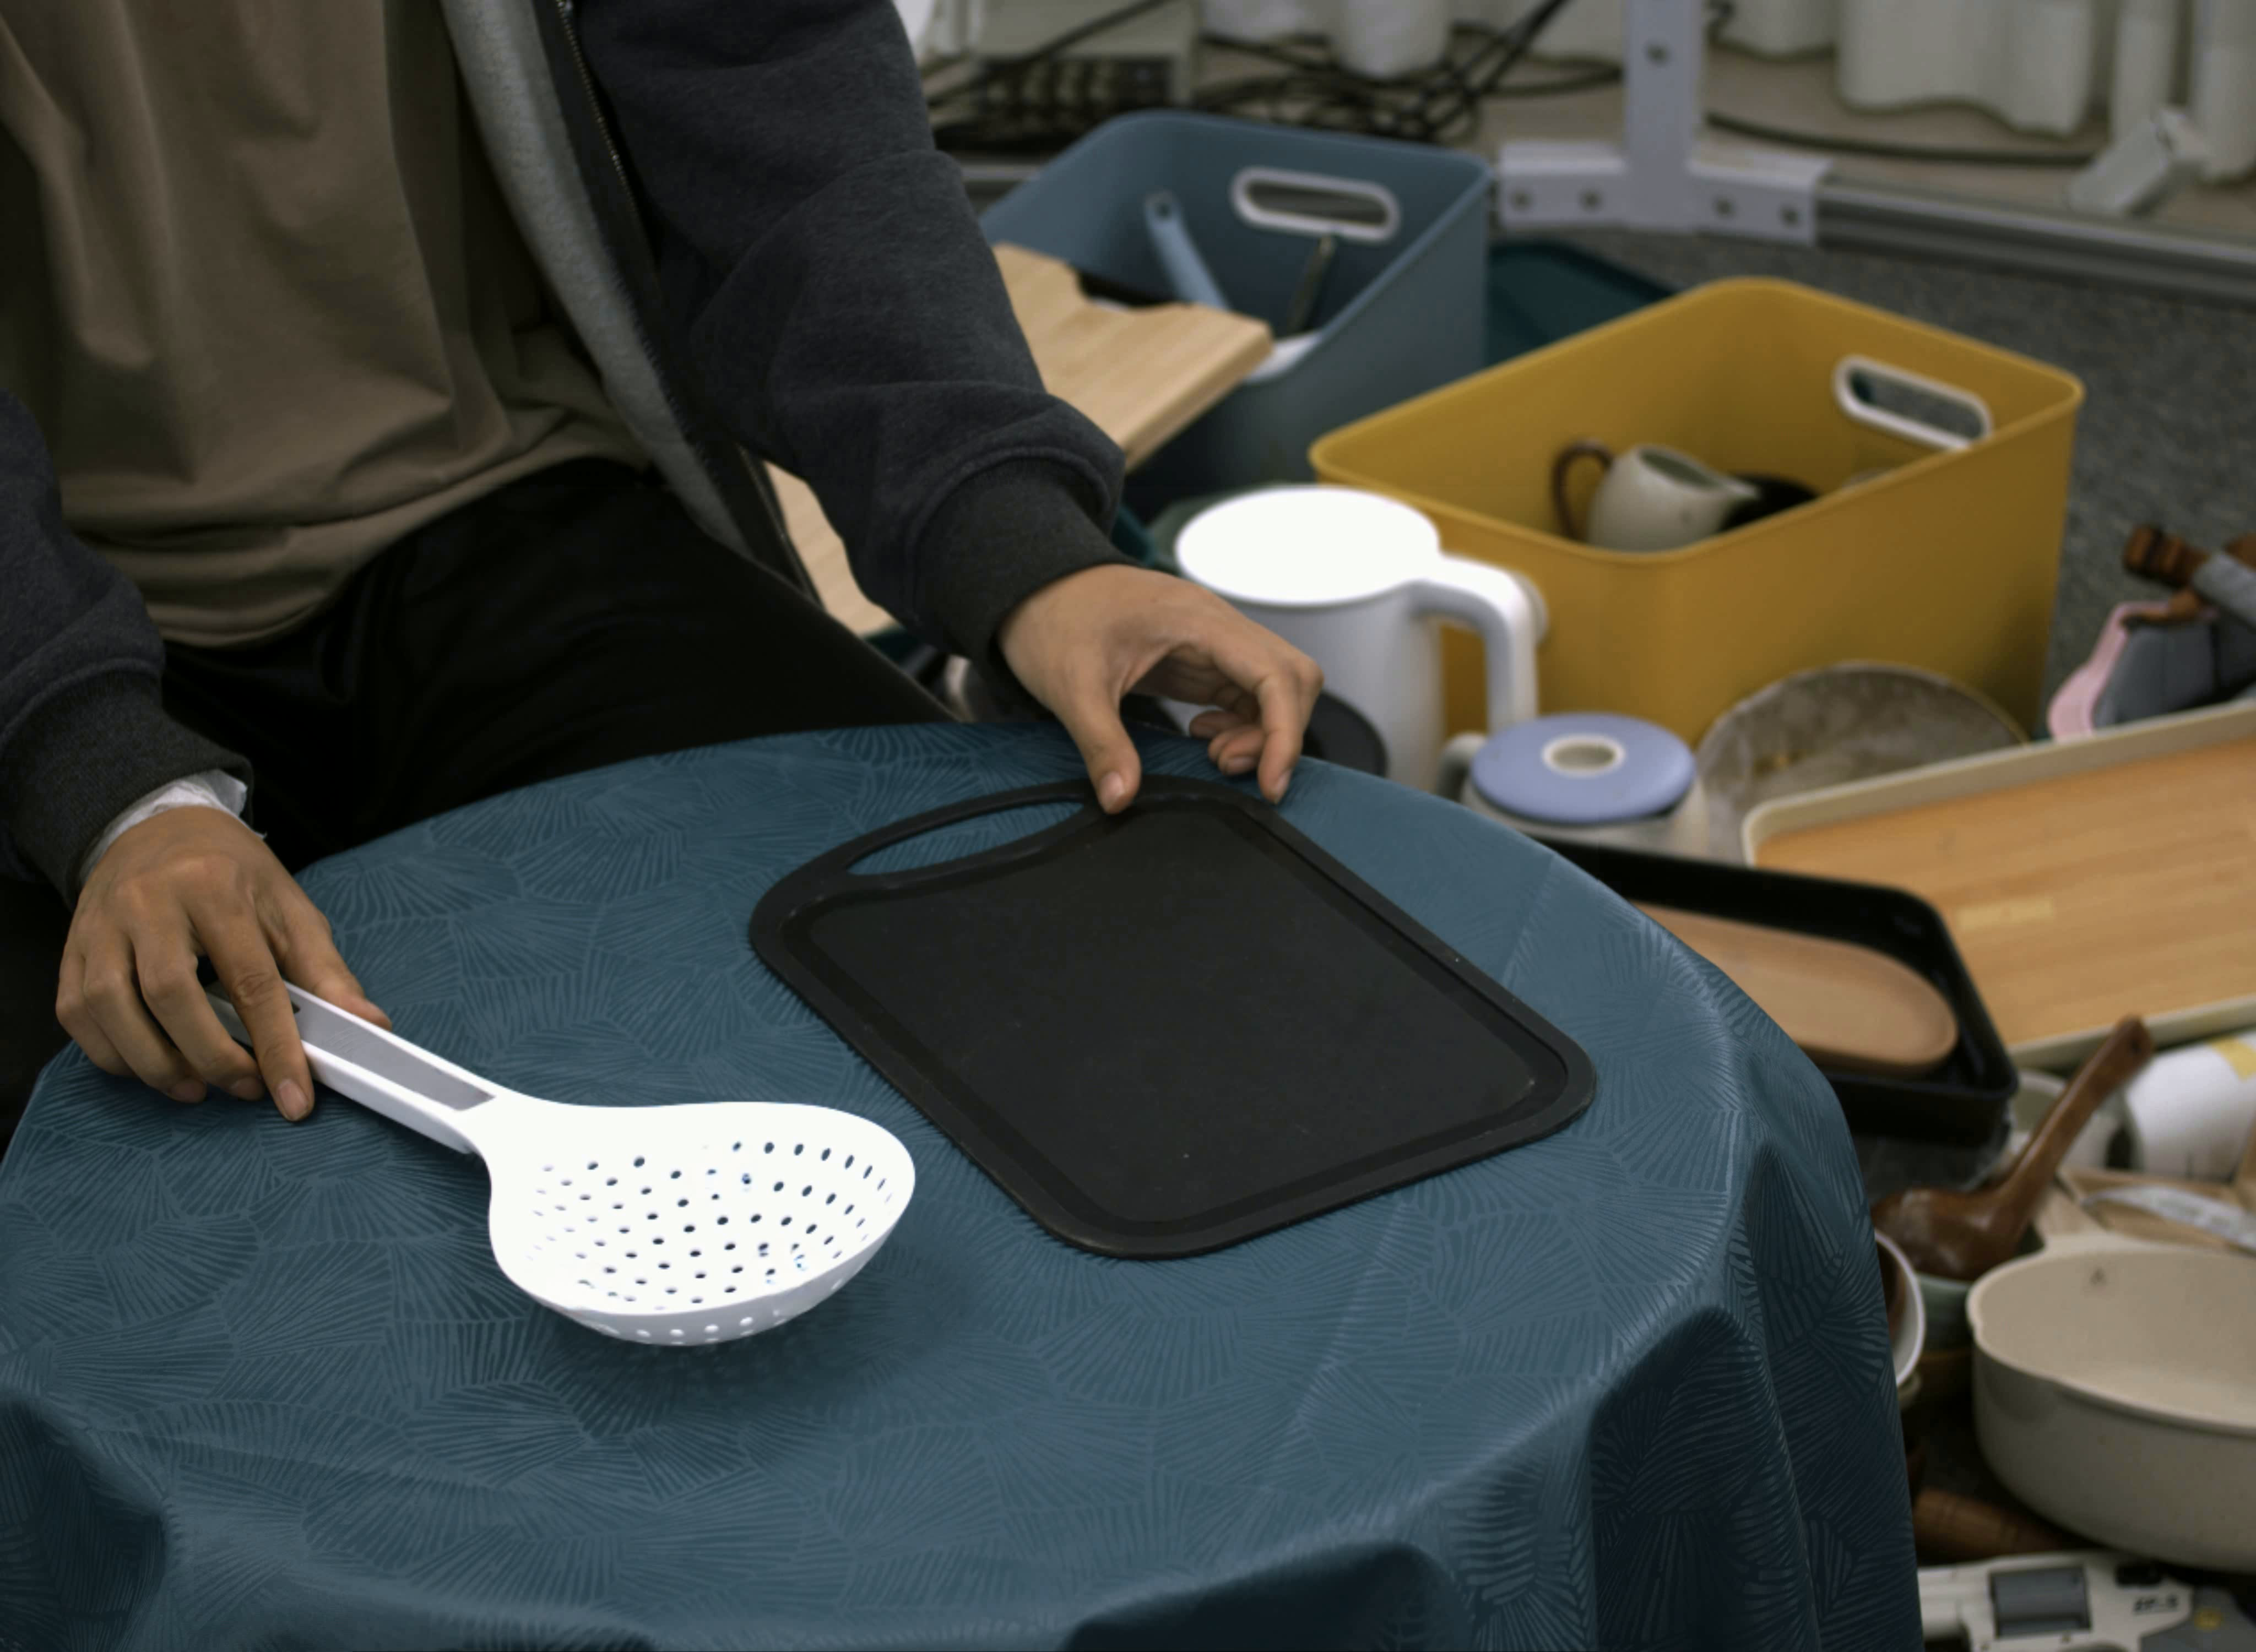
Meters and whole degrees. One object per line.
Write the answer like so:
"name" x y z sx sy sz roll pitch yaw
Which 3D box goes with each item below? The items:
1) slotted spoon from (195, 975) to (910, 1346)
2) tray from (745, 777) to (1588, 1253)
"slotted spoon" -0.207 0.103 1.869 0.137 0.045 0.349 -25 34 -35
"tray" 0.004 0.057 1.979 0.212 0.009 0.327 -16 30 -24
